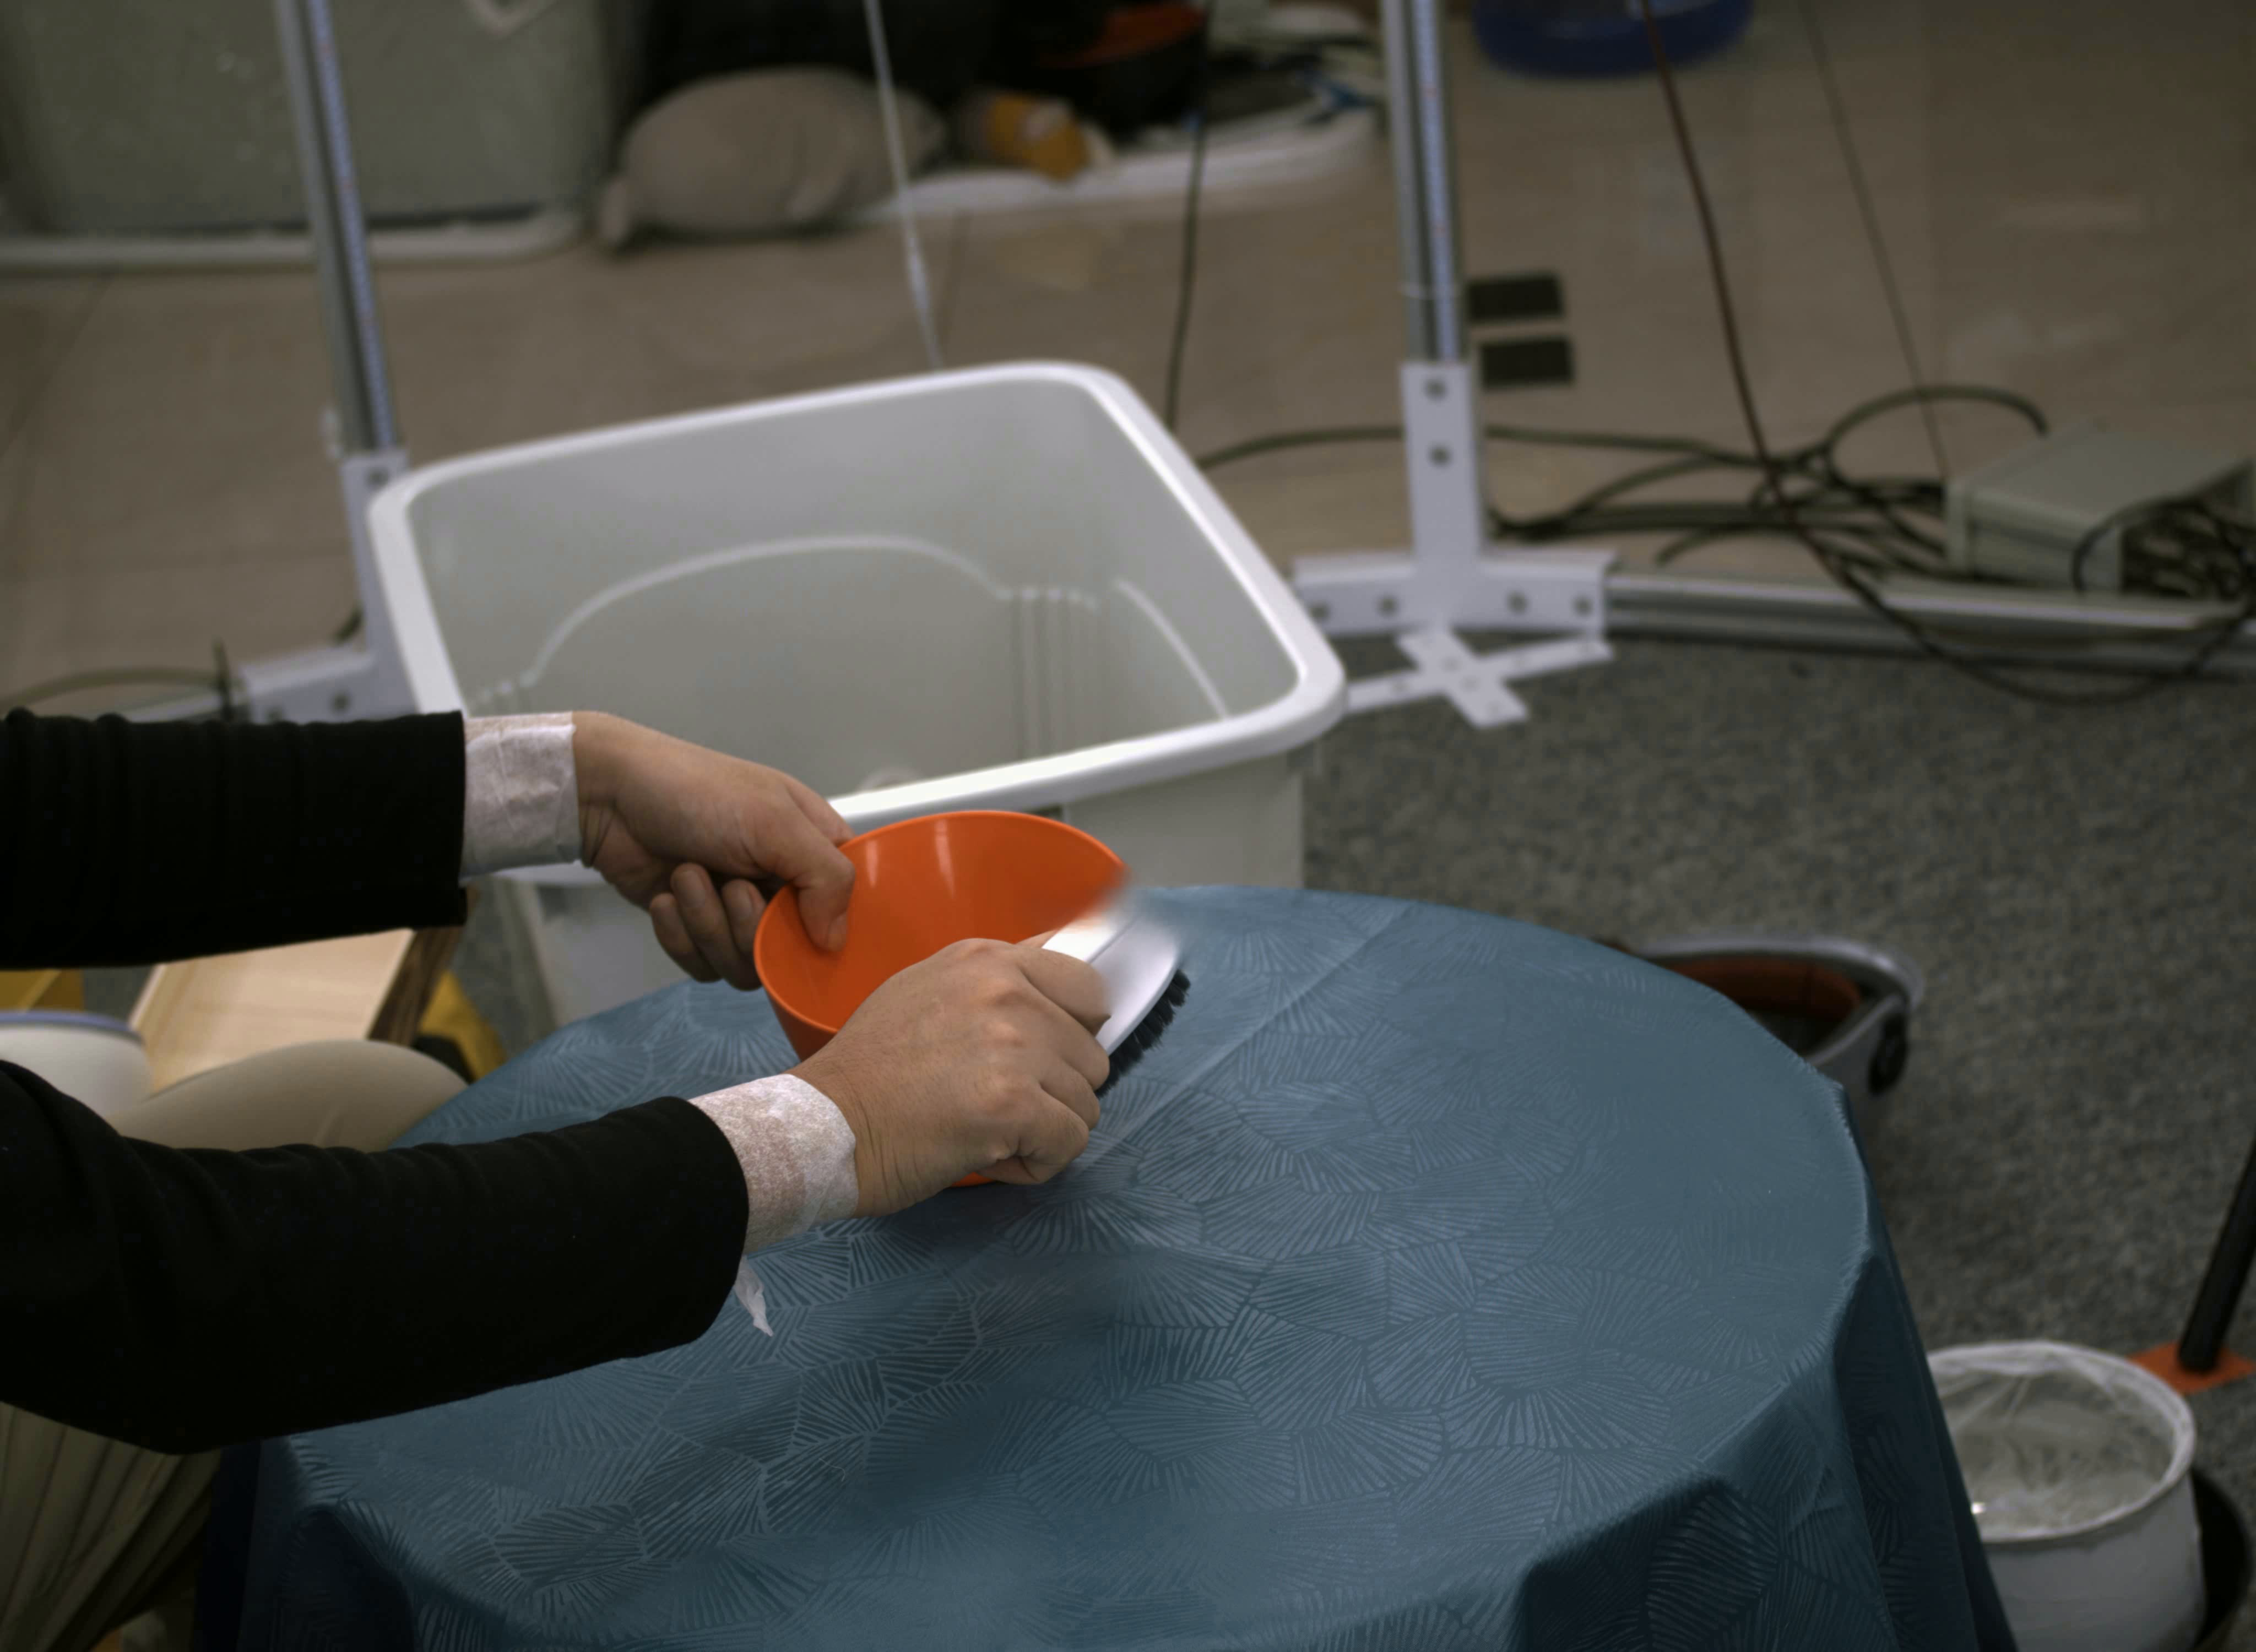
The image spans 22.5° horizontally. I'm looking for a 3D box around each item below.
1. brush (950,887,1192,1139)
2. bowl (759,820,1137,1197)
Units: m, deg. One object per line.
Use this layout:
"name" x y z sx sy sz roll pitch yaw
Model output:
"brush" -0.023 0.062 2.040 0.099 0.073 0.050 -43 71 -10
"bowl" -0.064 0.076 2.181 0.148 0.106 0.146 -7 26 3
